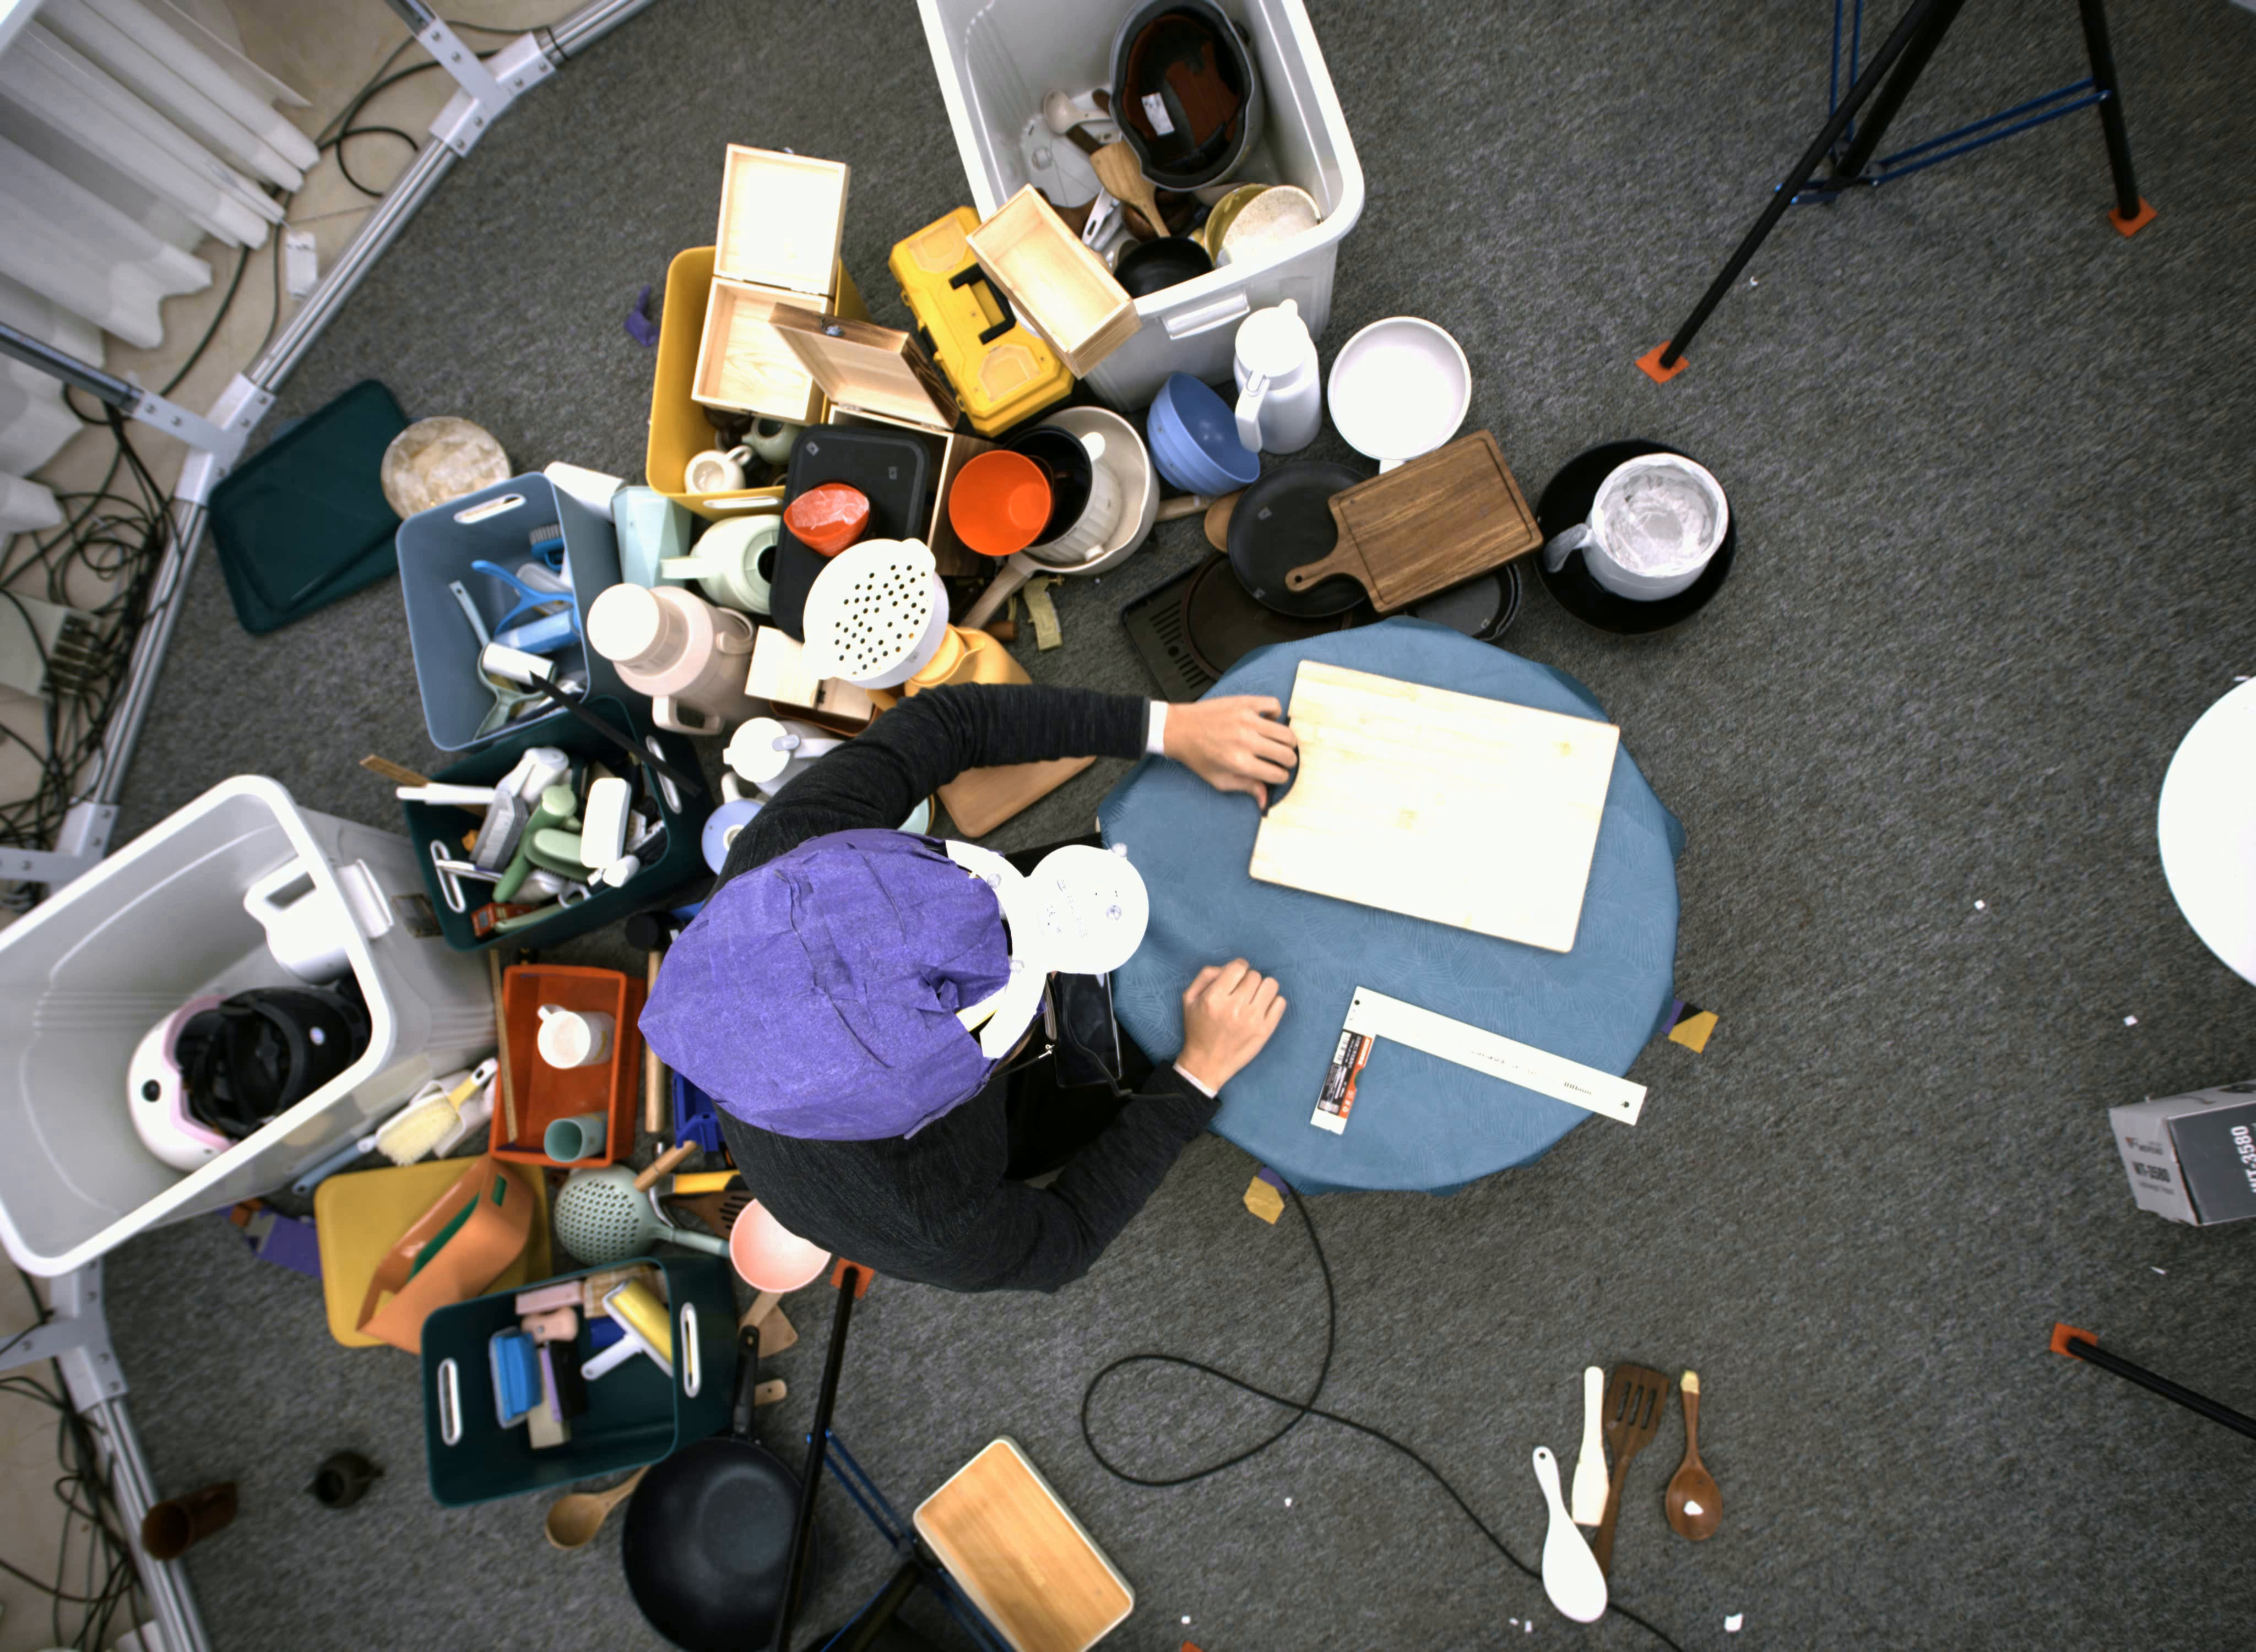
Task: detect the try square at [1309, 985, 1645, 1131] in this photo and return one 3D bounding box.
[{"bbox_3d":[0.358,0.284,1.430,0.313,0.016,0.152,19,92,10],"label":"try square"}]

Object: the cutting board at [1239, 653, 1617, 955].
[{"bbox_3d":[0.313,-0.028,1.449,0.349,0.023,0.250,14,89,11],"label":"cutting board"}]
